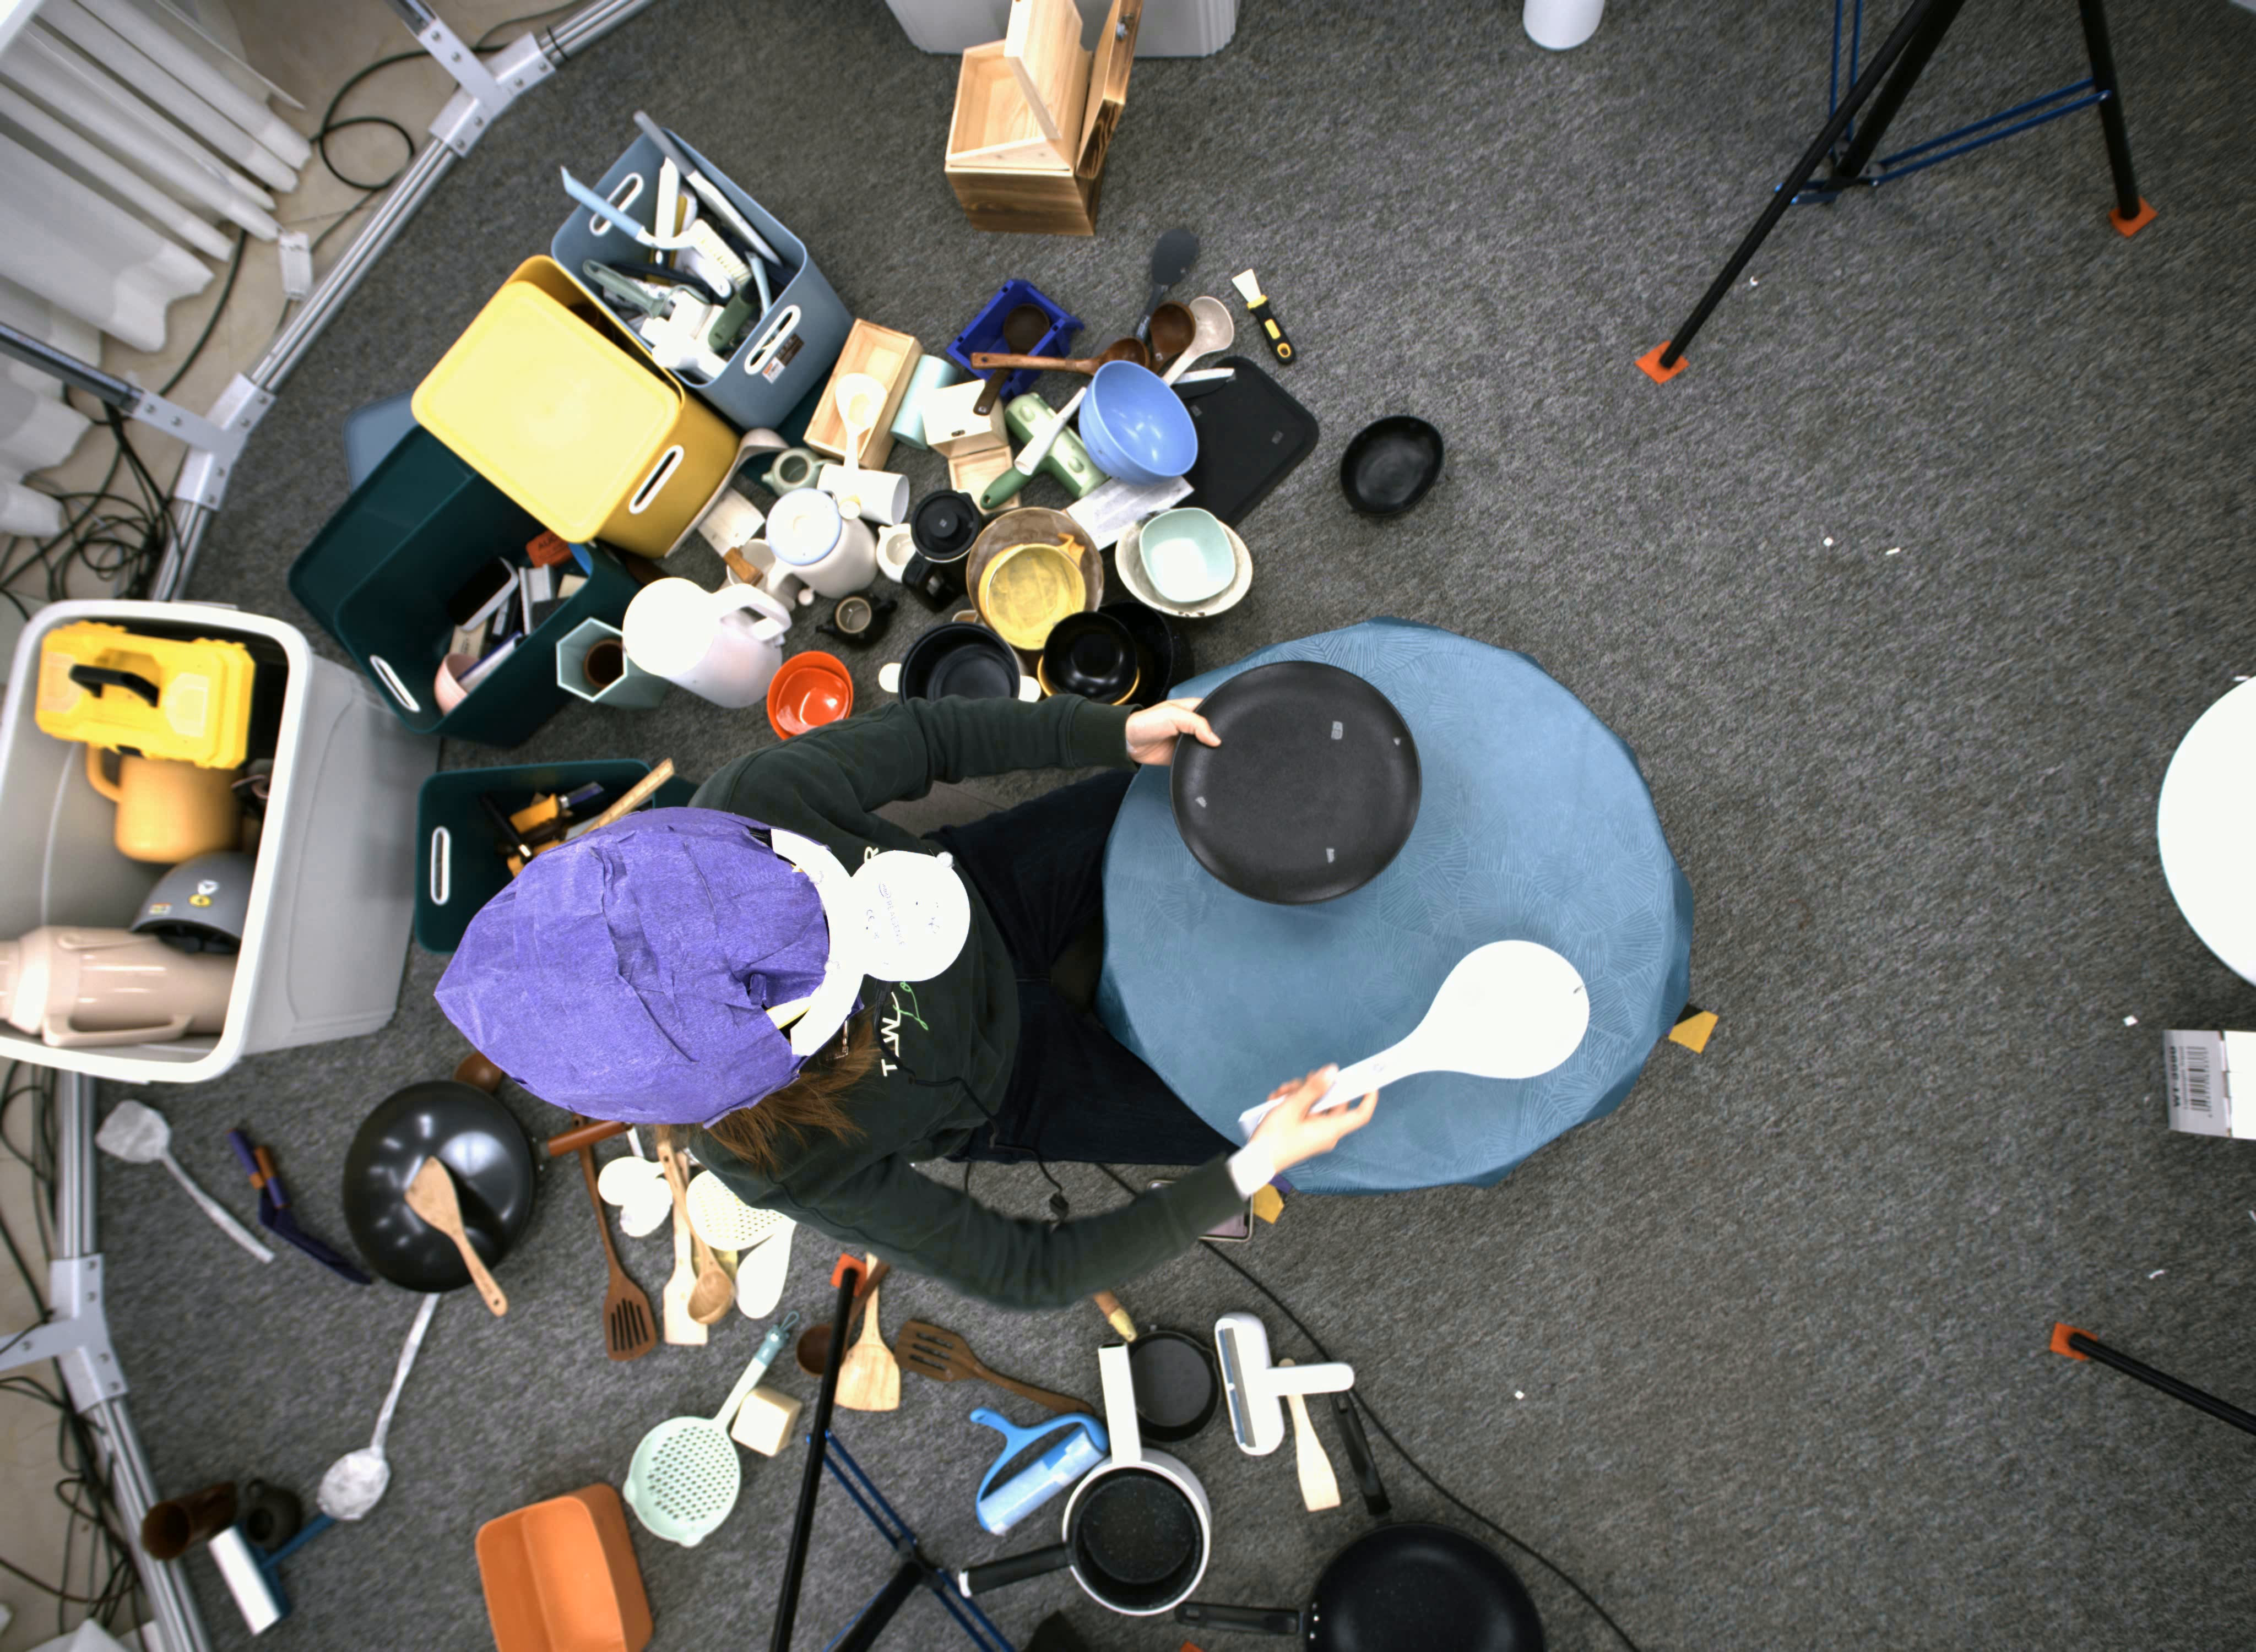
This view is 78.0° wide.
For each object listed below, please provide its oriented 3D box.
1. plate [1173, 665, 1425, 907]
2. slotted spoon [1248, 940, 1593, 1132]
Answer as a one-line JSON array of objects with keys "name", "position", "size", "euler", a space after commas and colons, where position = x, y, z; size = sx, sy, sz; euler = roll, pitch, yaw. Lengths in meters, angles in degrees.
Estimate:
[{"name": "plate", "position": [0.166, -0.040, 1.344], "size": [0.245, 0.023, 0.242], "euler": [-2, 80, 8]}, {"name": "slotted spoon", "position": [0.280, 0.215, 1.336], "size": [0.349, 0.046, 0.133], "euler": [-21, 57, -2]}]
